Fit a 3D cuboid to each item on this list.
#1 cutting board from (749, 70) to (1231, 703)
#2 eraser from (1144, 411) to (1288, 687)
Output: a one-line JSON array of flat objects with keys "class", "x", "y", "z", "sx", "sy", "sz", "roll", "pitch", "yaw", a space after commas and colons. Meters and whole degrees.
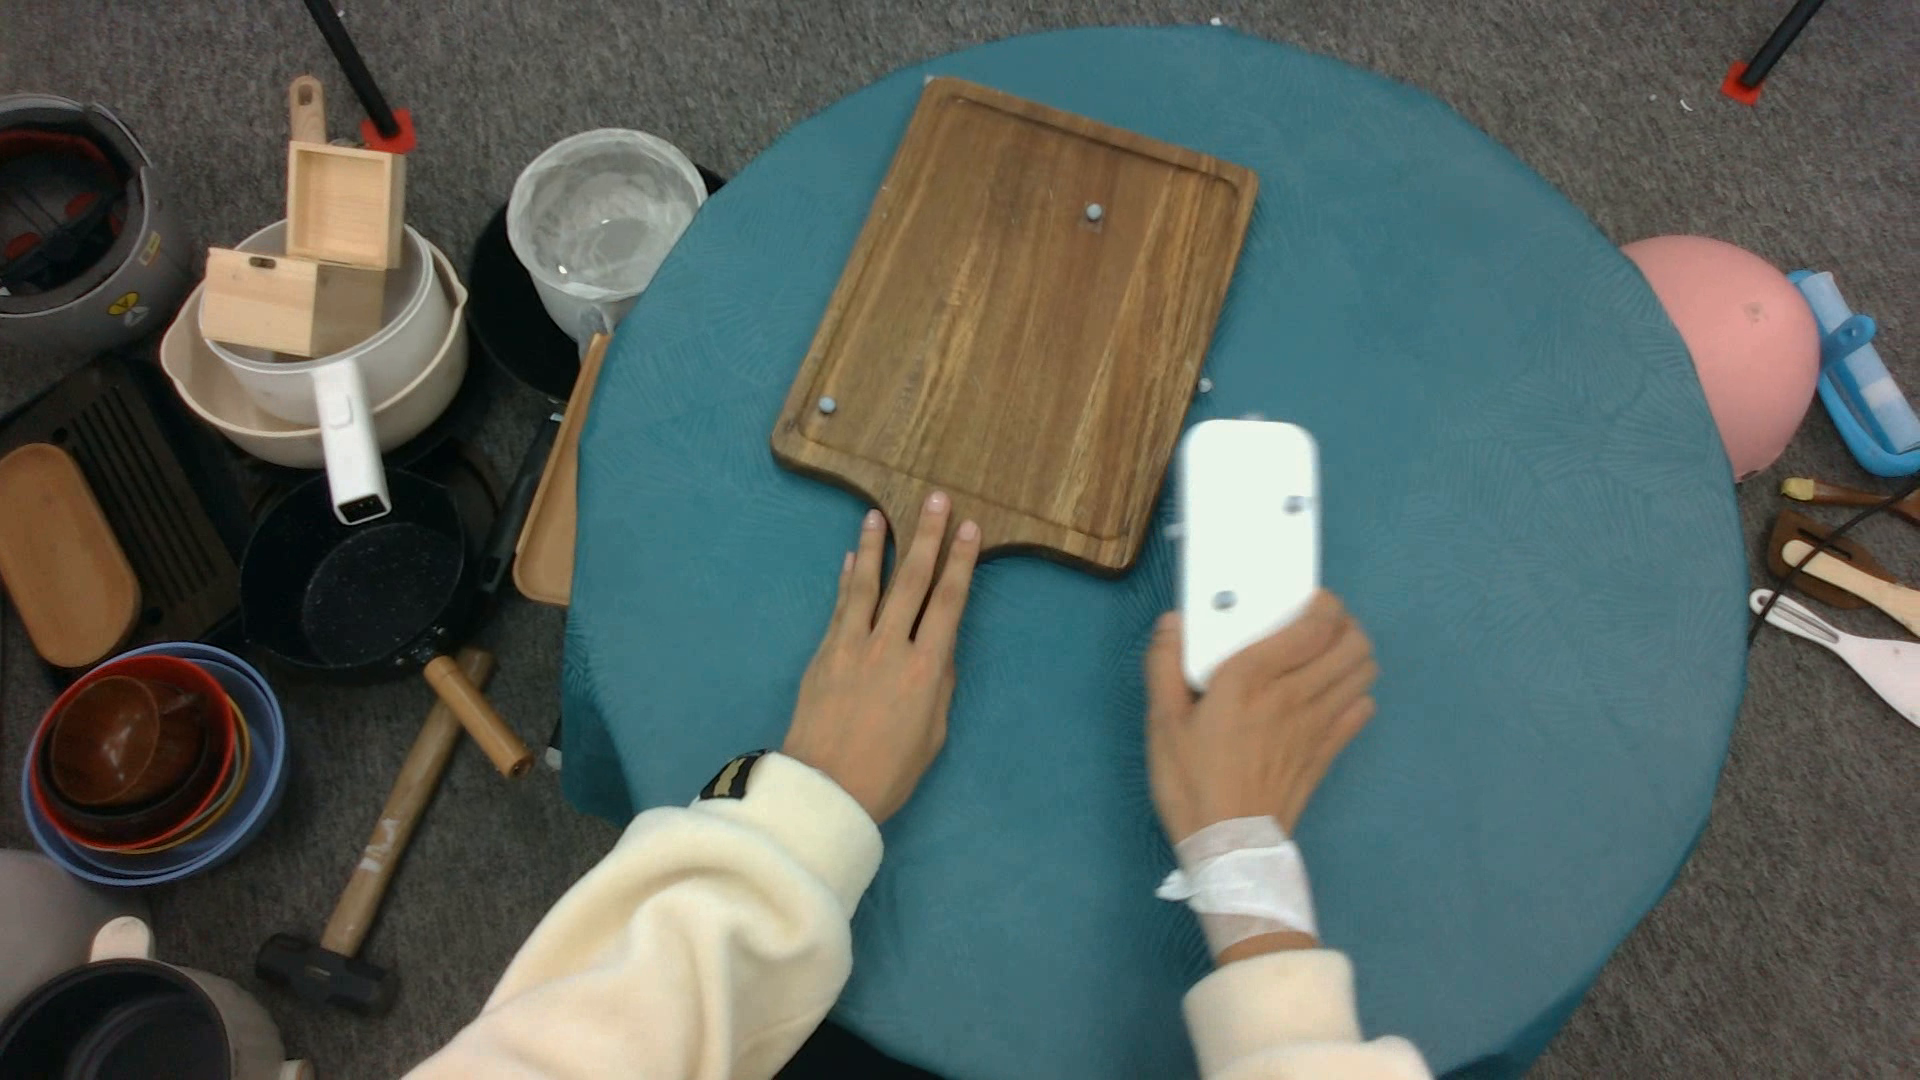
[{"class": "cutting board", "x": 0.007, "y": -0.083, "z": 0.713, "sx": 0.201, "sy": 0.023, "sz": 0.353, "roll": 18, "pitch": 69, "yaw": 4}, {"class": "eraser", "x": 0.118, "y": 0.004, "z": 0.648, "sx": 0.063, "sy": 0.034, "sz": 0.131, "roll": 1, "pitch": 77, "yaw": -8}]
